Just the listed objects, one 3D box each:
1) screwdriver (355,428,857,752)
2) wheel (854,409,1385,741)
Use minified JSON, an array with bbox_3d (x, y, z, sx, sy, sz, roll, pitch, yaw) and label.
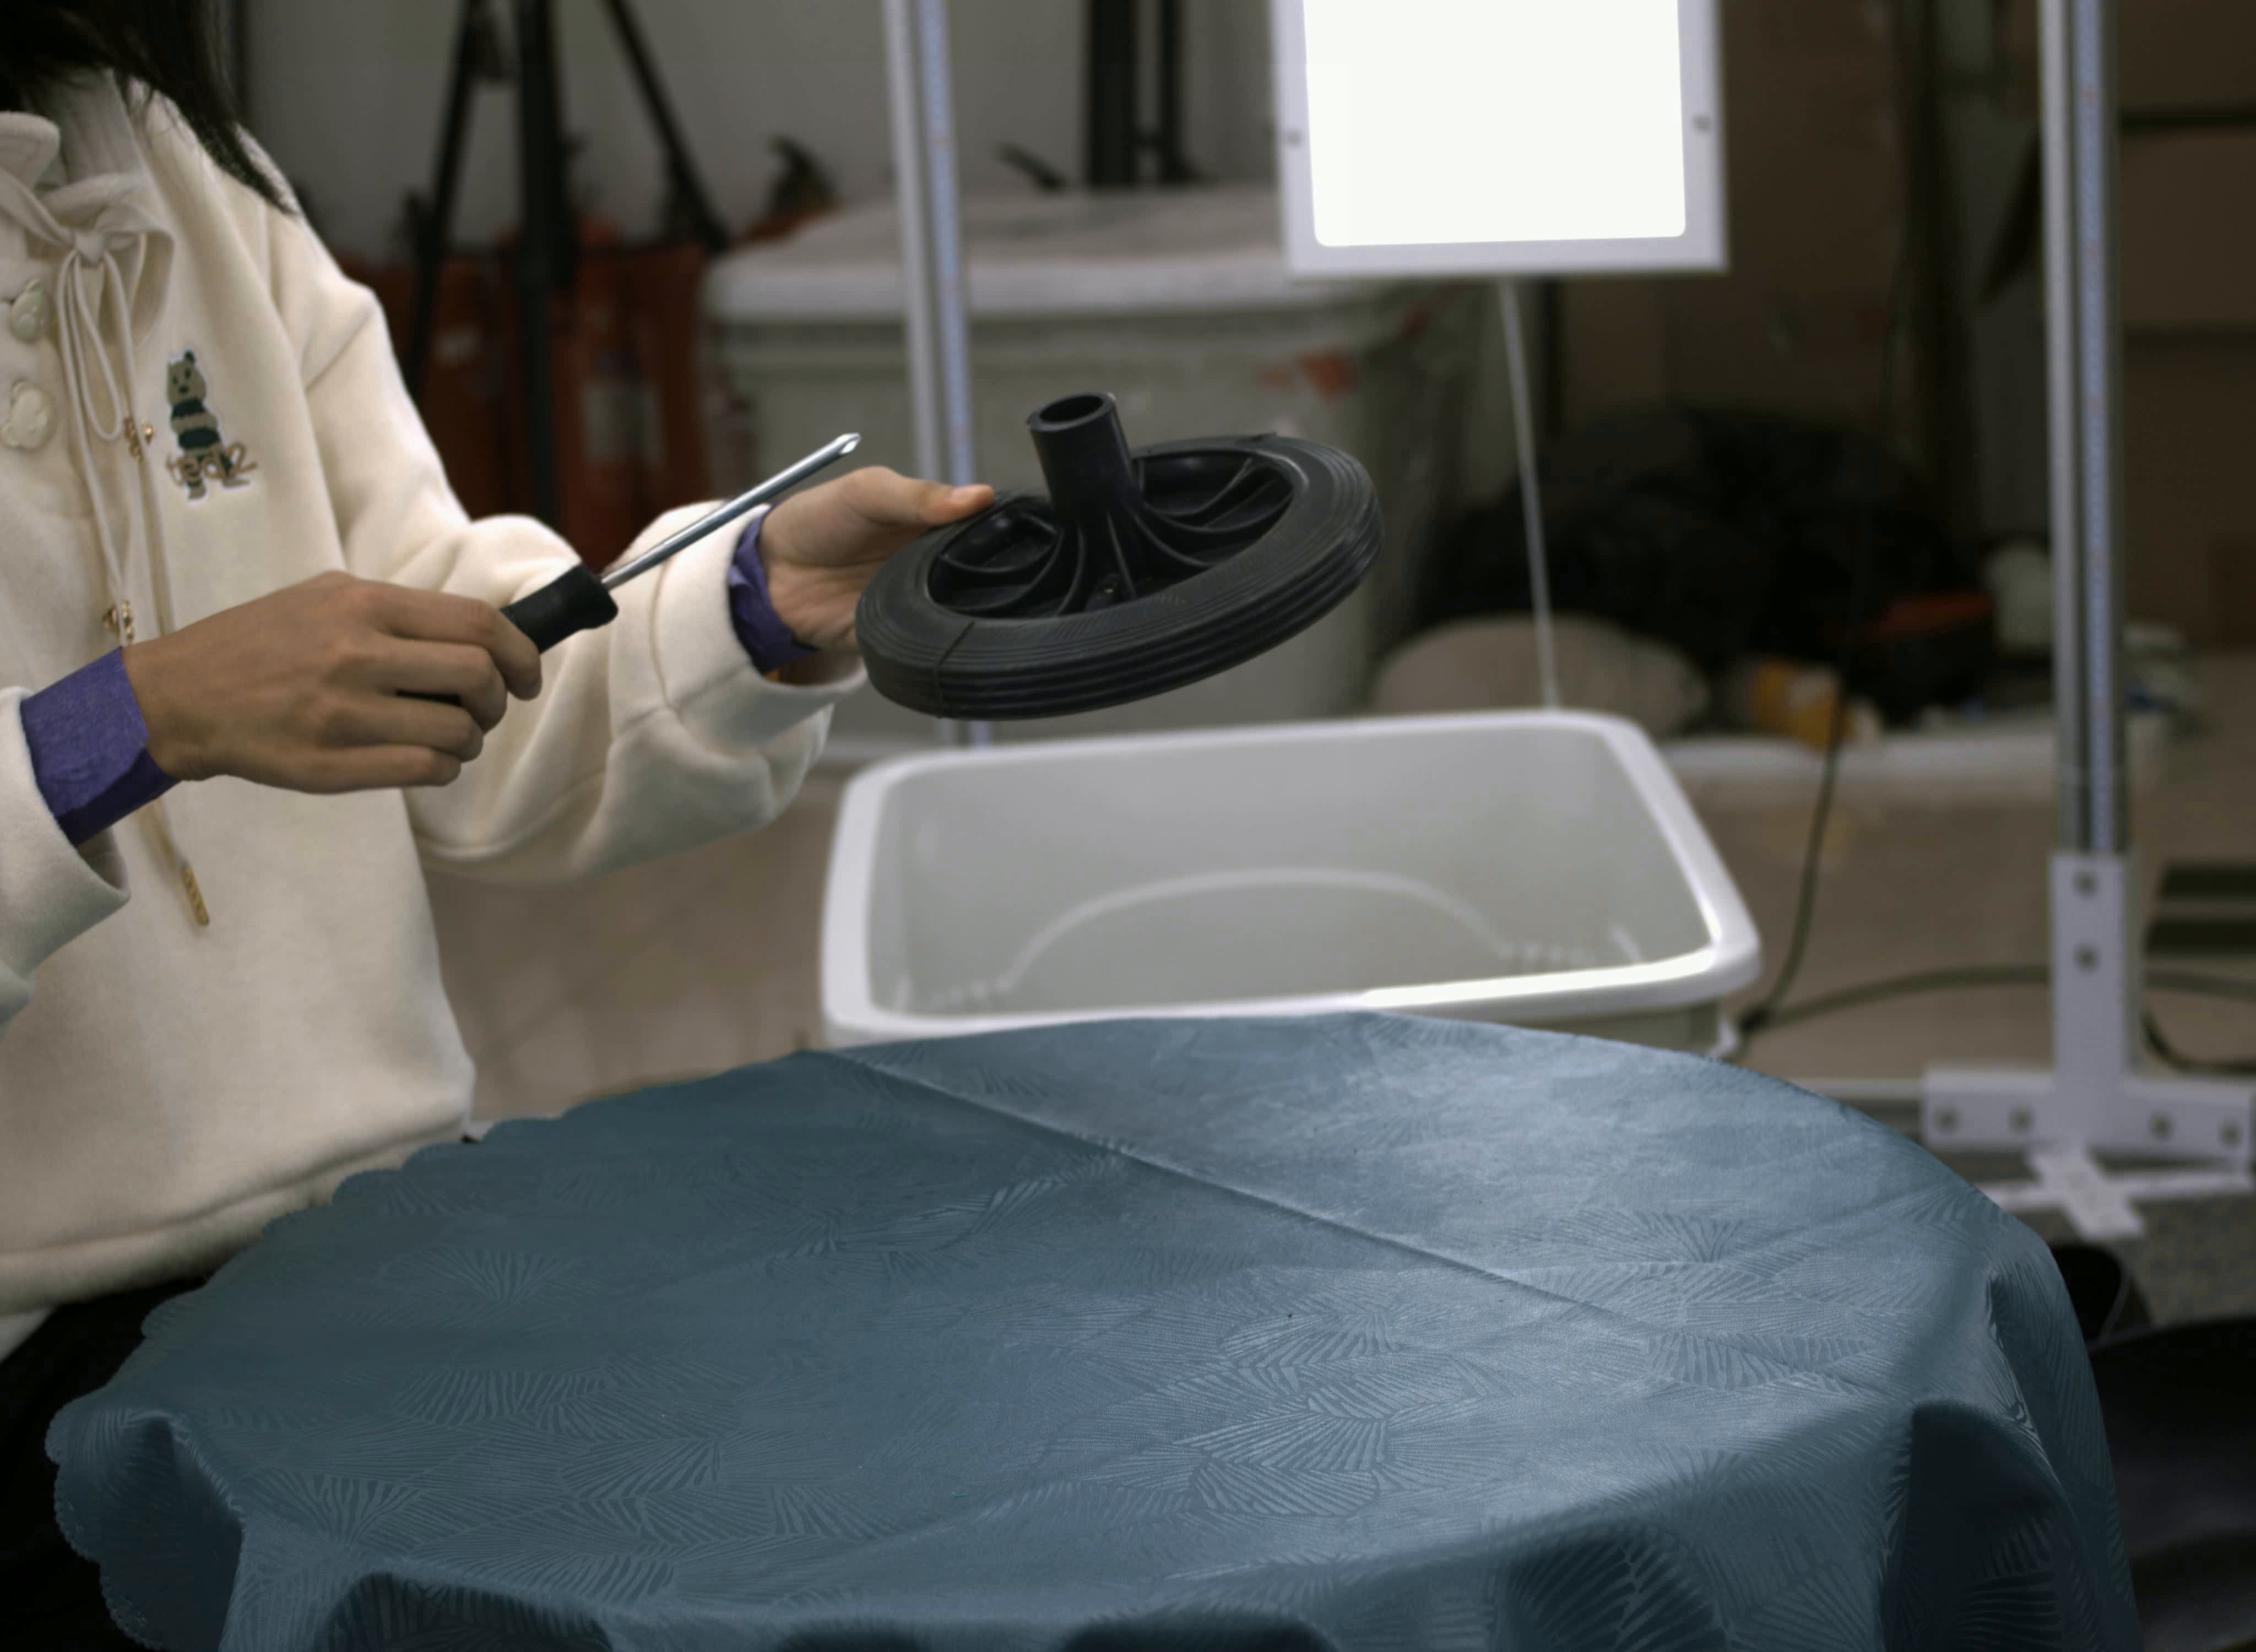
[{"bbox_3d":[-0.177,-0.086,1.872,0.196,0.031,0.031,-34,16,1],"label":"screwdriver"},{"bbox_3d":[-0.008,-0.102,1.901,0.186,0.079,0.191,-19,27,-4],"label":"wheel"}]
